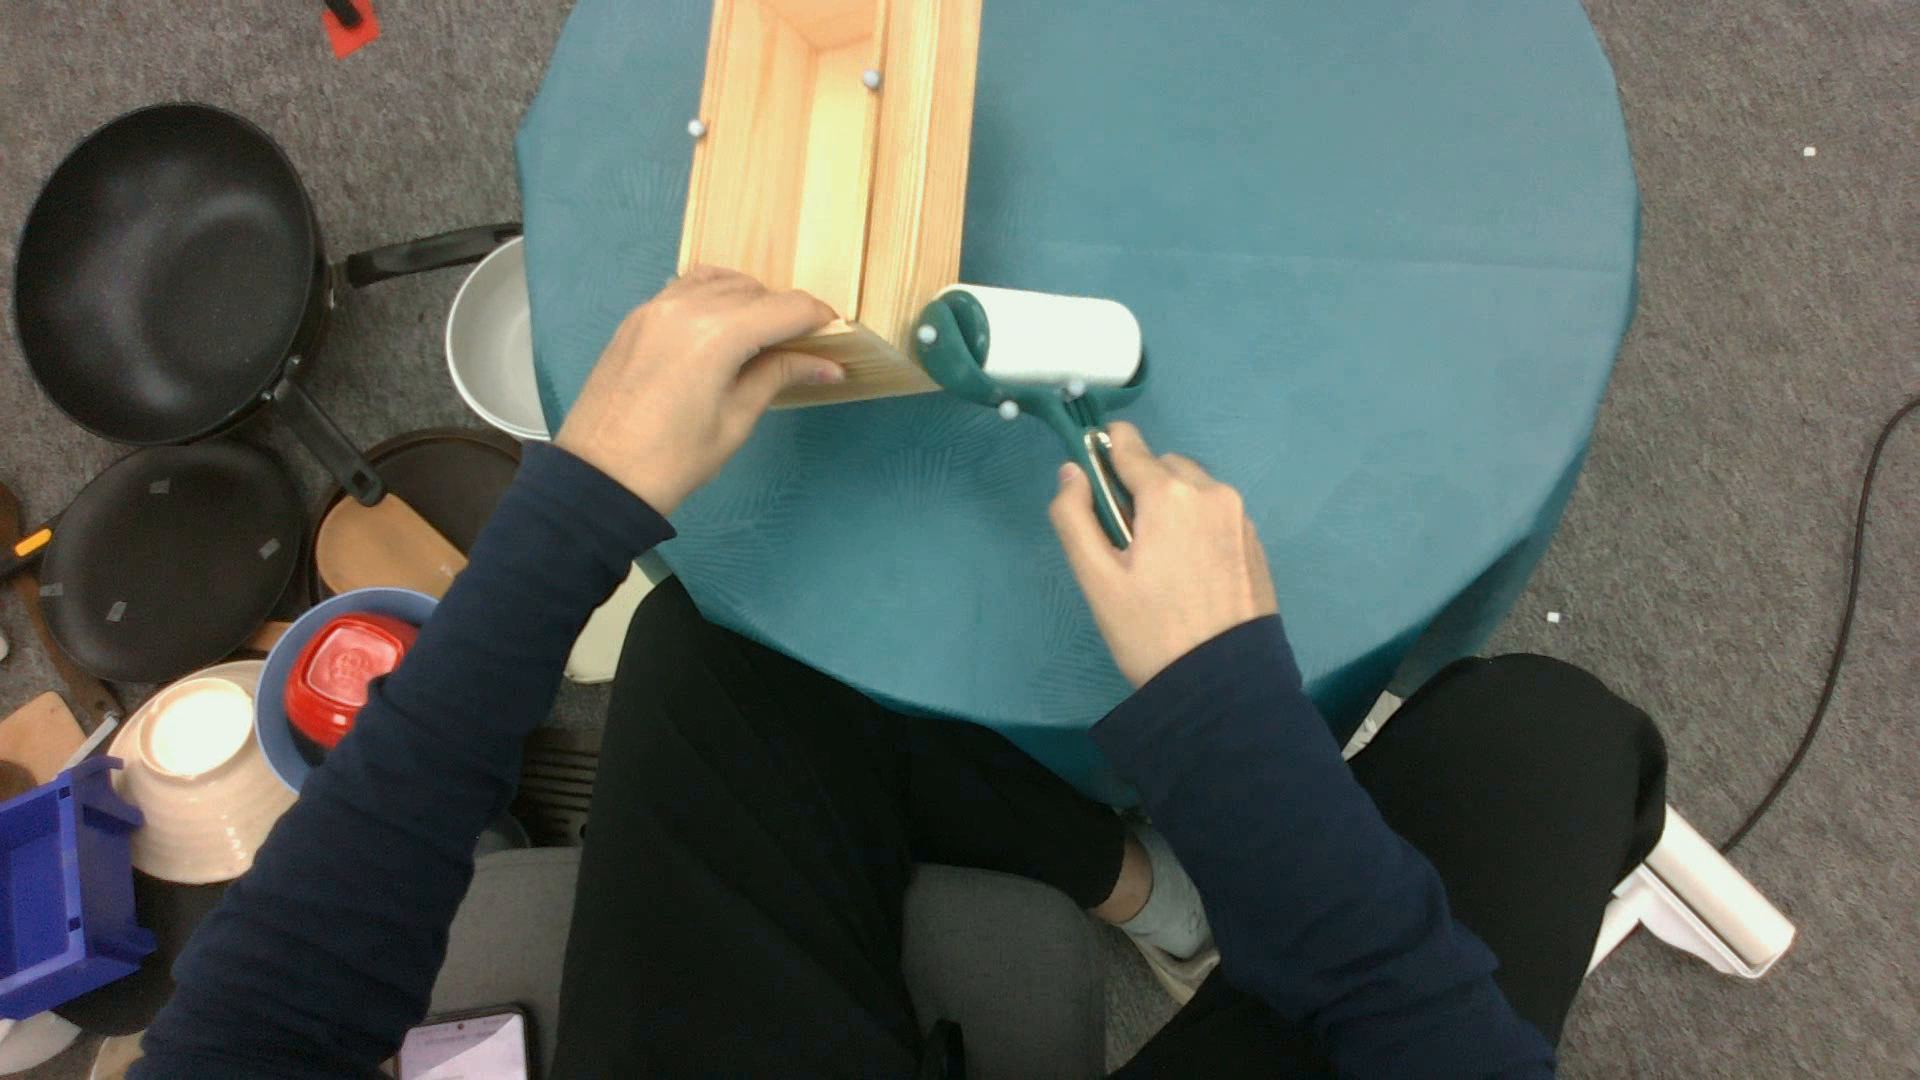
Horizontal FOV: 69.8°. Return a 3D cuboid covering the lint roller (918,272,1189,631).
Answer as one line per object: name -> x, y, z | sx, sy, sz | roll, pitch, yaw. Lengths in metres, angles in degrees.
lint roller -> 0.065, -0.046, 0.619 | 0.135, 0.048, 0.180 | -6, 58, -40

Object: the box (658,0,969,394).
box -> -0.066, -0.186, 0.664 | 0.107, 0.080, 0.212 | -2, 75, 25
